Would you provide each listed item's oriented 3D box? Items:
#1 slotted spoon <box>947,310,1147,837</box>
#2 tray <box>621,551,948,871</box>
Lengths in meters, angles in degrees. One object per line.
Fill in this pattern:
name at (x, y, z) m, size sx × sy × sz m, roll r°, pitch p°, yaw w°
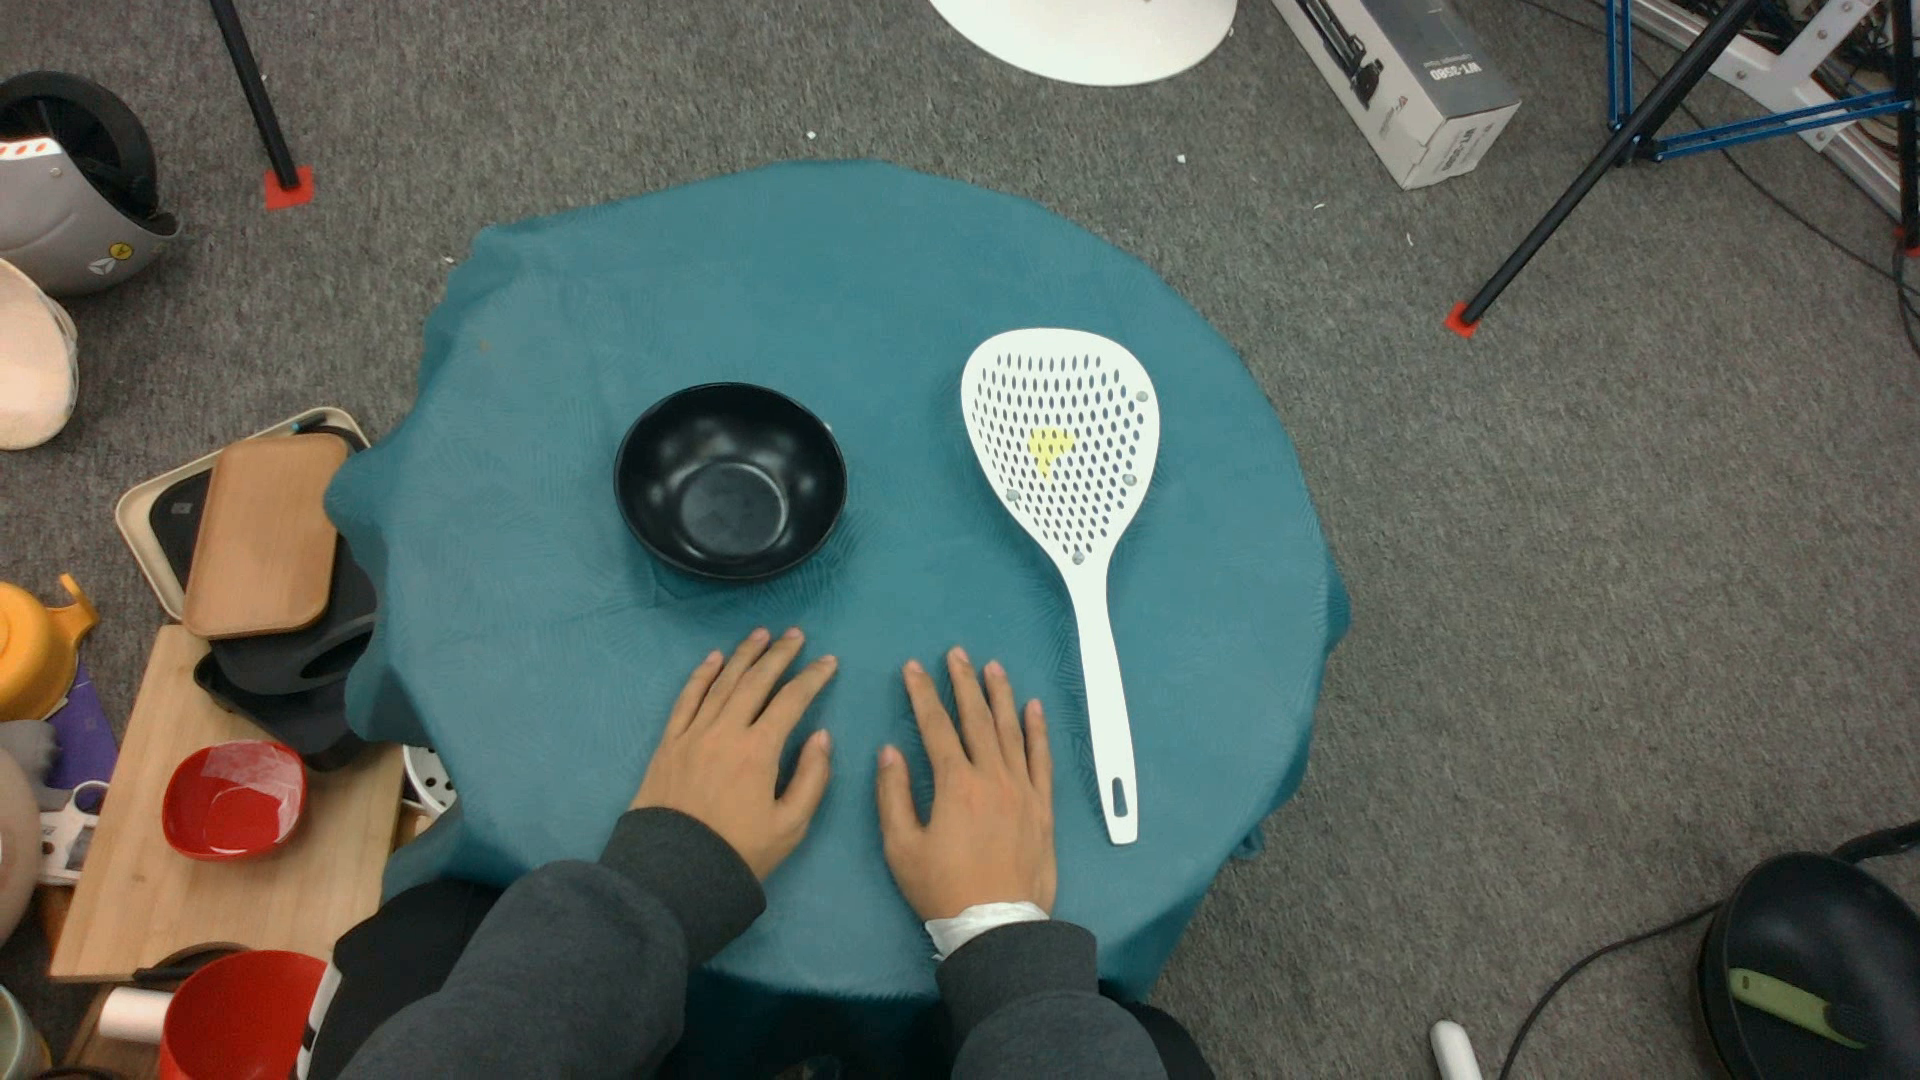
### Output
slotted spoon at (0.069, 0.011, 0.870) m, size 0.137 × 0.050 × 0.349 m, roll -1°, pitch 63°, yaw -16°
tray at (-0.176, 0.165, 1.384) m, size 0.192 × 0.027 × 0.300 m, roll -39°, pitch 75°, yaw -27°
